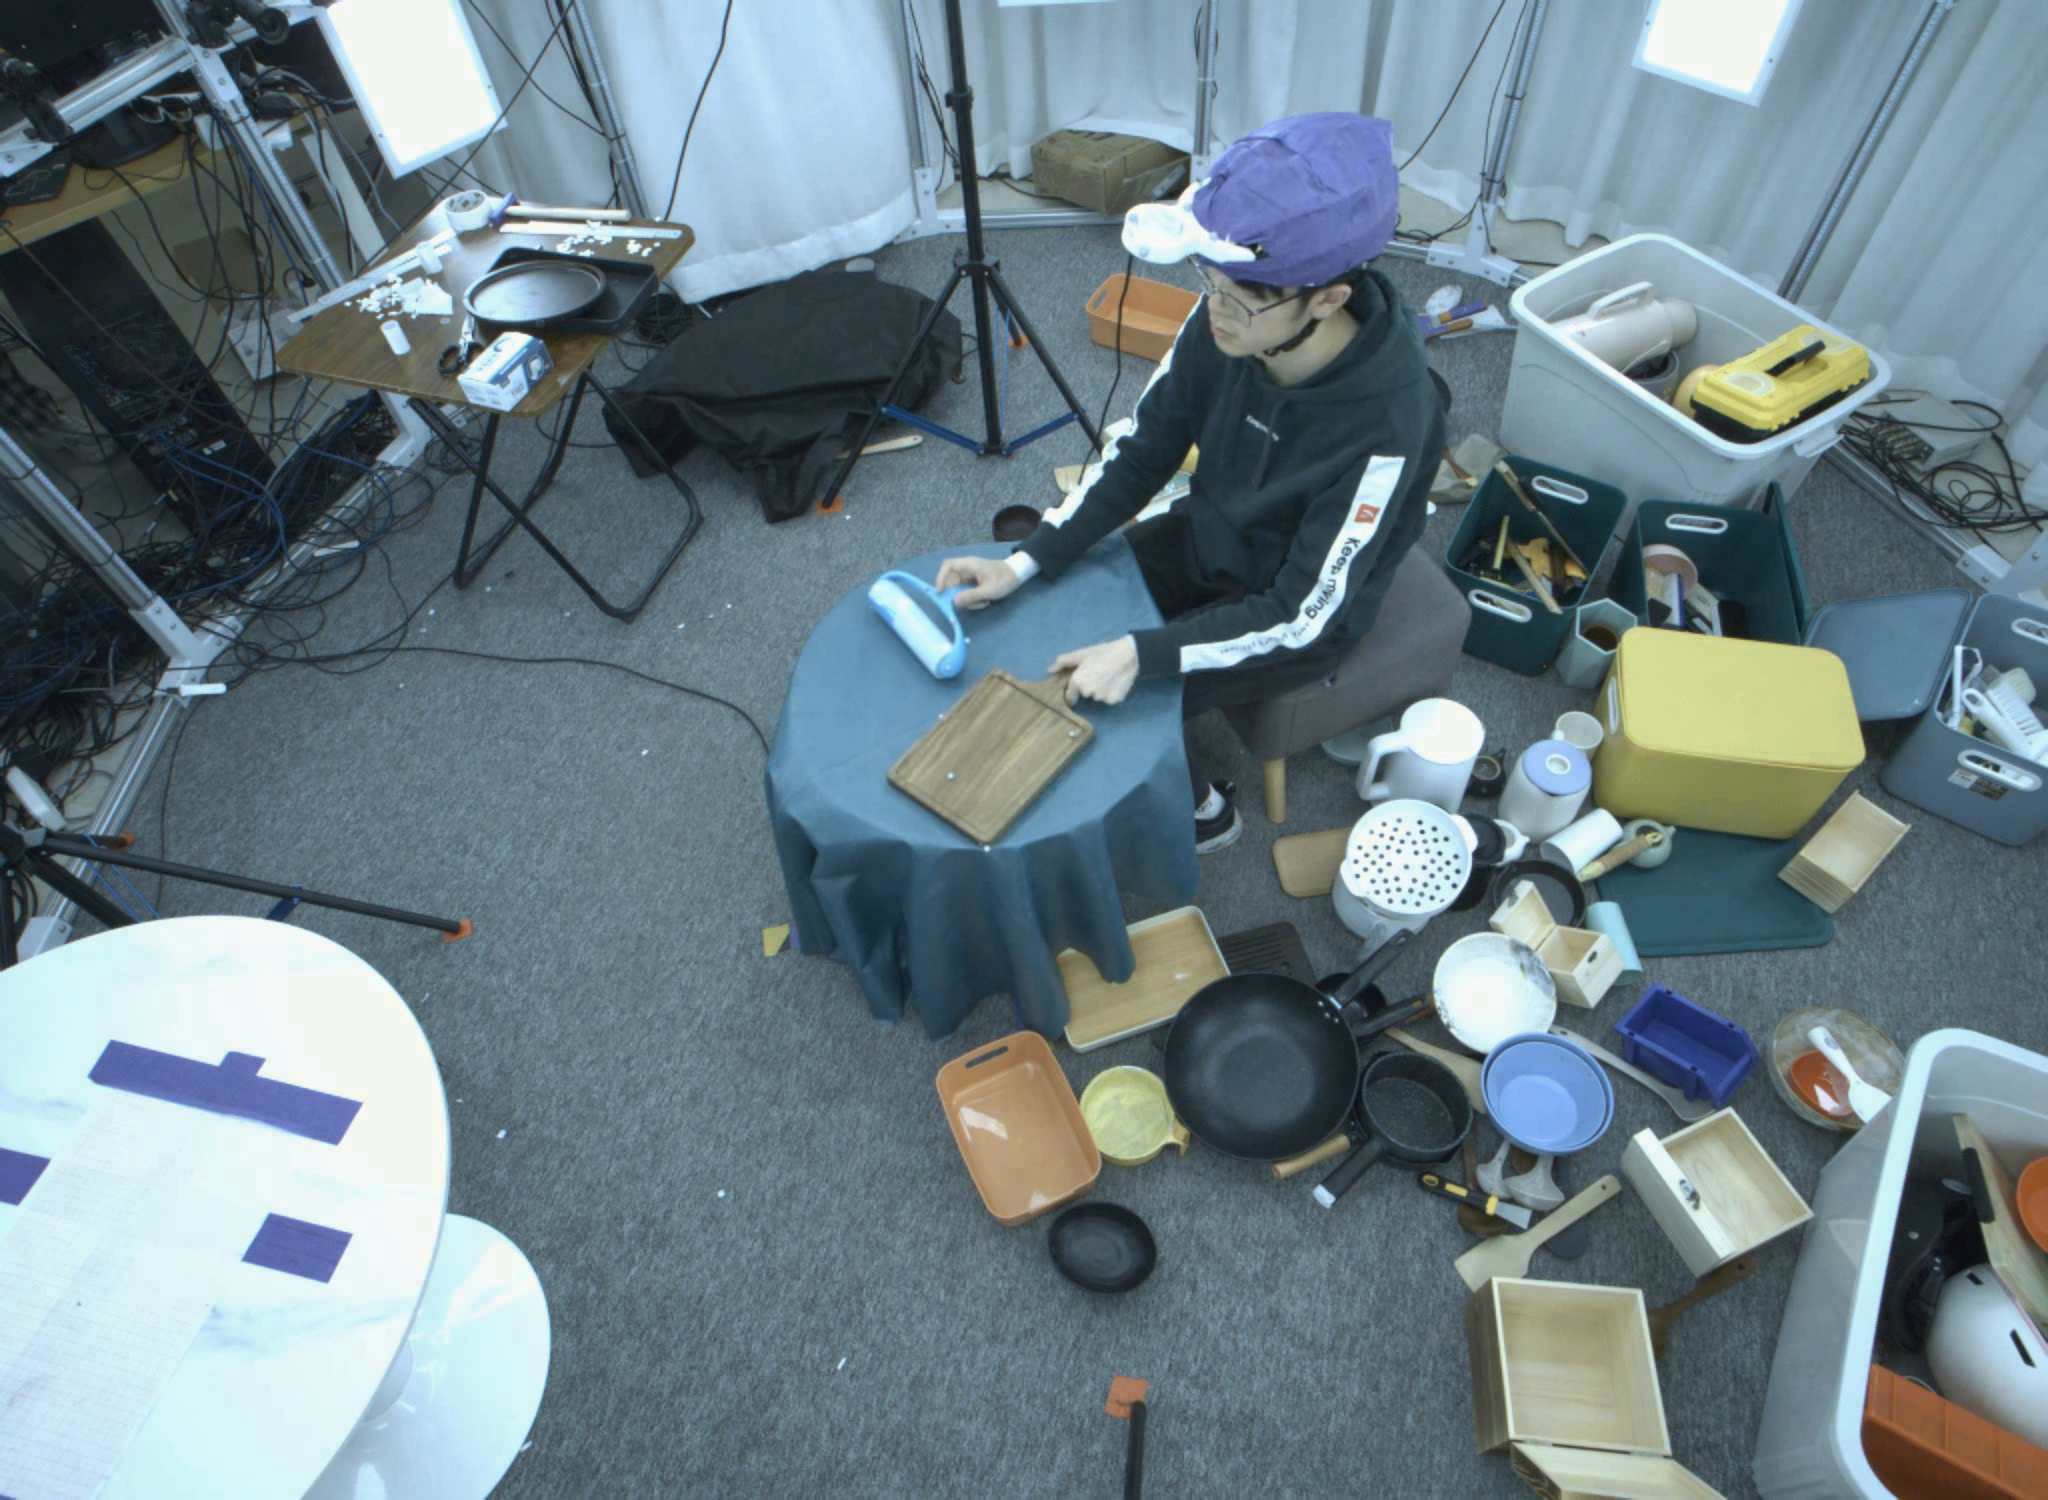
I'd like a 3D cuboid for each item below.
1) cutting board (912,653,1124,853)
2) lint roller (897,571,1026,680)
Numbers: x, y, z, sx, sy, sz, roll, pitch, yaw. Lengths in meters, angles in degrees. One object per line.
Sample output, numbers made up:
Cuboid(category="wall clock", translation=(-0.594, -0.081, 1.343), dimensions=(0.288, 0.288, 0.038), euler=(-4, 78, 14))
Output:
Cuboid(category="cutting board", translation=(0.024, -0.022, 1.779), dimensions=(0.198, 0.023, 0.354), euler=(34, 64, 23))
Cuboid(category="lint roller", translation=(-0.077, -0.219, 1.904), dimensions=(0.181, 0.069, 0.224), euler=(-34, 59, -17))
